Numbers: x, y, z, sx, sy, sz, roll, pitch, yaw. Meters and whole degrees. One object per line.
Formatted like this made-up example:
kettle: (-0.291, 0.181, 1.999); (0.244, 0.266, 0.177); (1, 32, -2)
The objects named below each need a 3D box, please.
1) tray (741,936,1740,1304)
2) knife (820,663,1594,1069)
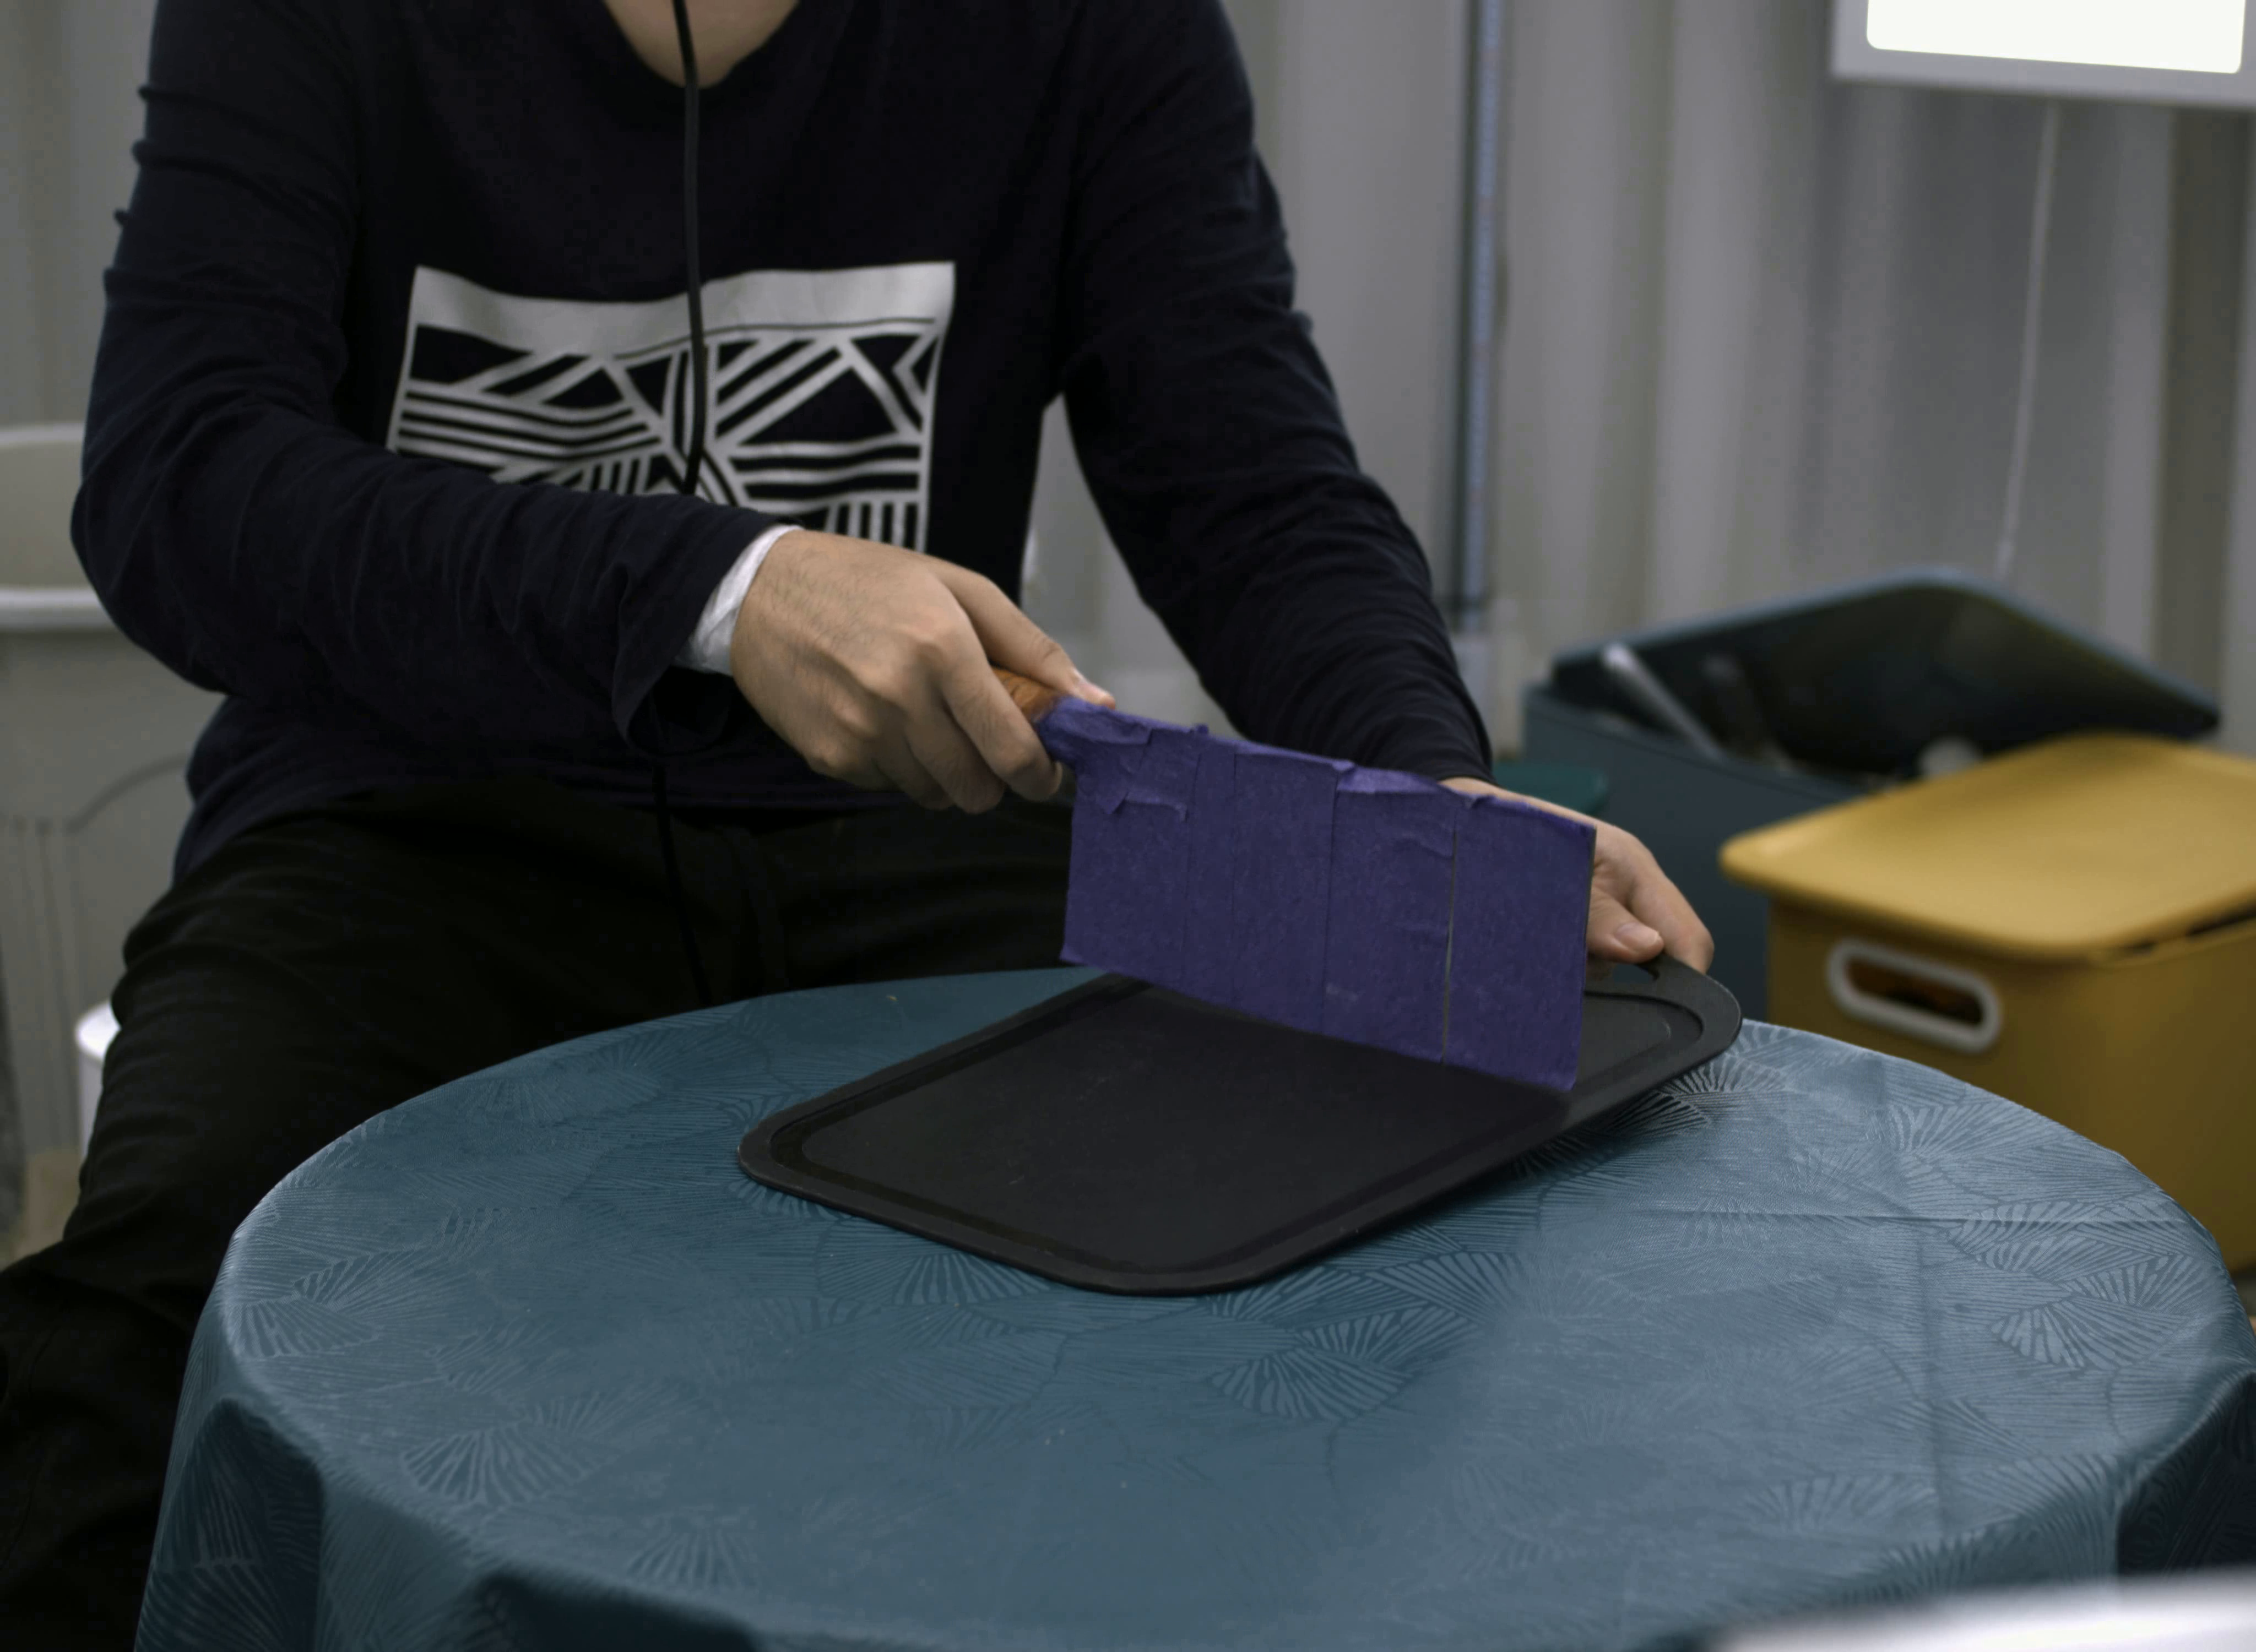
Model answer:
tray: (0.044, 0.080, 1.695); (0.208, 0.010, 0.326); (16, 26, 41)
knife: (0.019, 0.014, 1.741); (0.311, 0.104, 0.032); (13, 14, 37)
